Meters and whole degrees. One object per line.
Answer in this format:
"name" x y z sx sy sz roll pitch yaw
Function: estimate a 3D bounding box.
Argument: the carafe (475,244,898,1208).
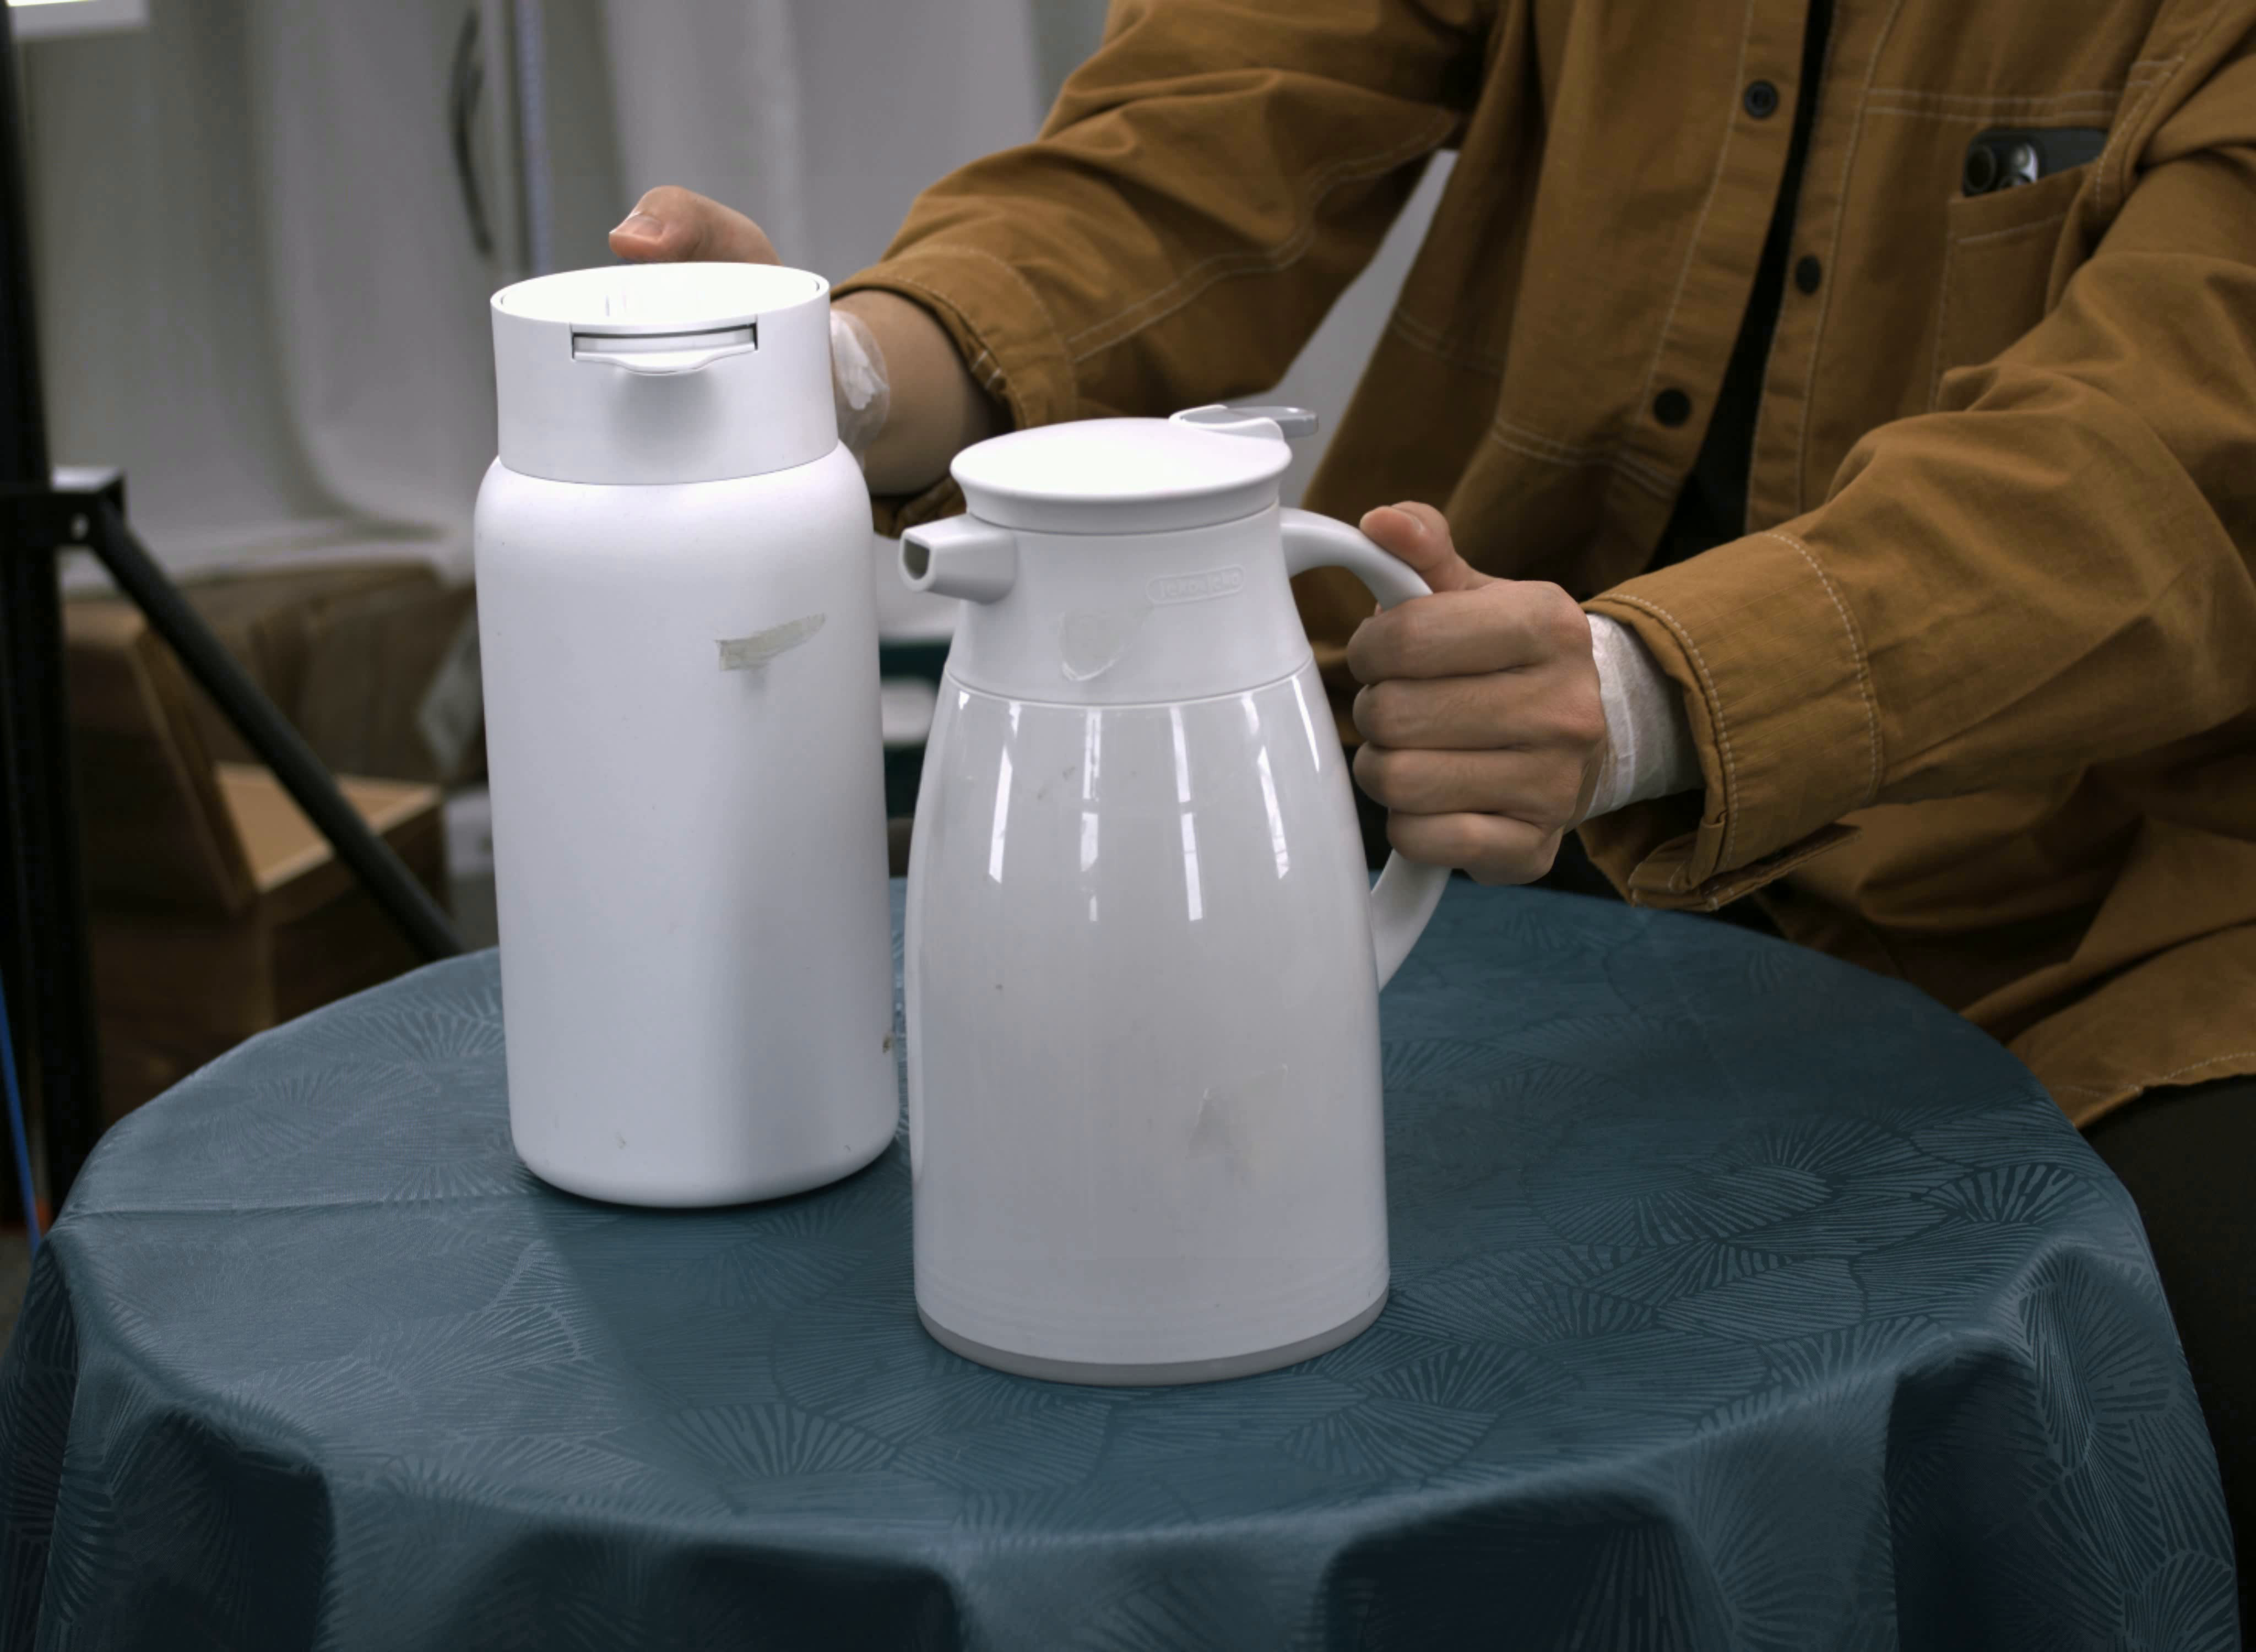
"carafe" -0.134 -0.034 1.590 0.123 0.269 0.174 -5 15 -5

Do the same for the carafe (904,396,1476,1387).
"carafe" 0.019 0.009 1.446 0.164 0.248 0.135 -9 16 -26
